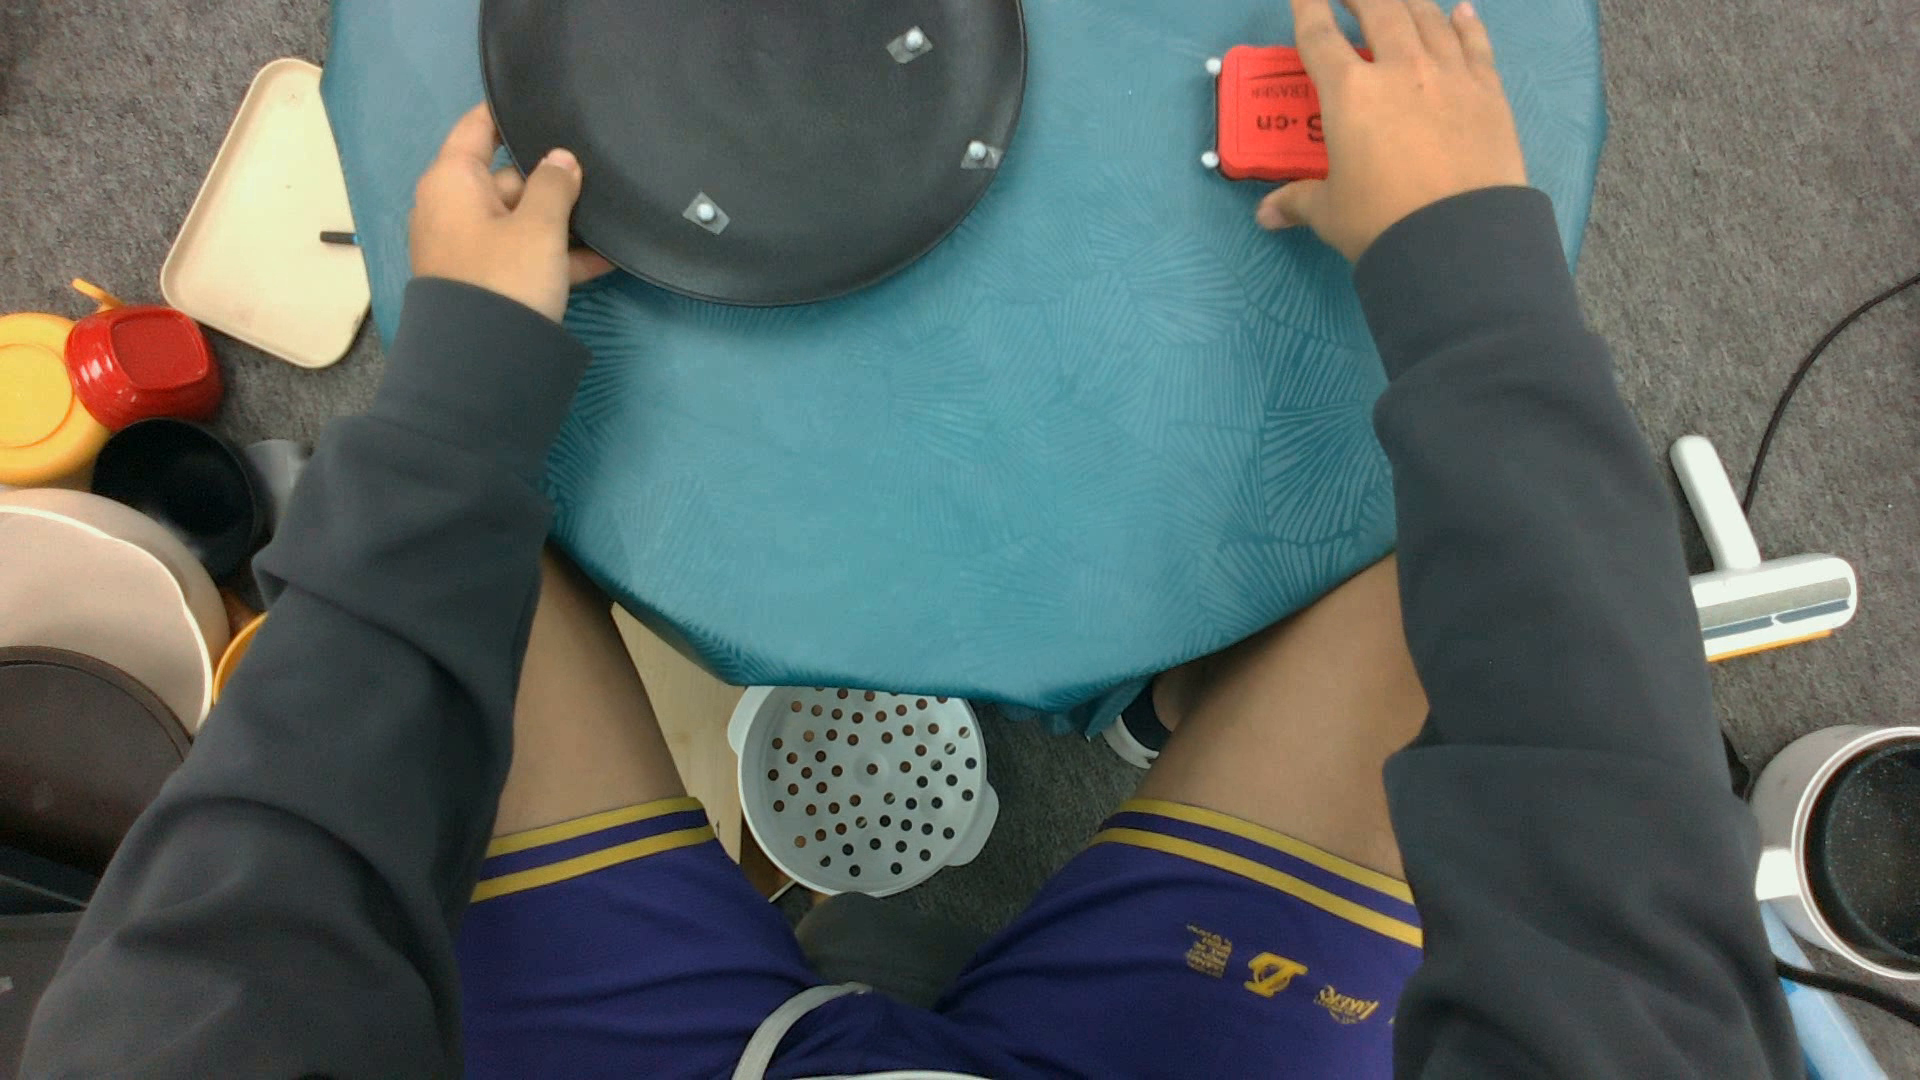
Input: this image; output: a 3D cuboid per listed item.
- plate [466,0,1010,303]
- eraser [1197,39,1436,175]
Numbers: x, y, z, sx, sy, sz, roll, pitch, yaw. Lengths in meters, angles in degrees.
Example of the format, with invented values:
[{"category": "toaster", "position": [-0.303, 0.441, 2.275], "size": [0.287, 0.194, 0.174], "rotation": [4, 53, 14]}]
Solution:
[{"category": "plate", "position": [-0.098, -0.225, 0.629], "size": [0.244, 0.023, 0.244], "rotation": [1, 85, -6]}, {"category": "eraser", "position": [0.167, -0.203, 0.646], "size": [0.108, 0.023, 0.059], "rotation": [-1, 86, -2]}]
